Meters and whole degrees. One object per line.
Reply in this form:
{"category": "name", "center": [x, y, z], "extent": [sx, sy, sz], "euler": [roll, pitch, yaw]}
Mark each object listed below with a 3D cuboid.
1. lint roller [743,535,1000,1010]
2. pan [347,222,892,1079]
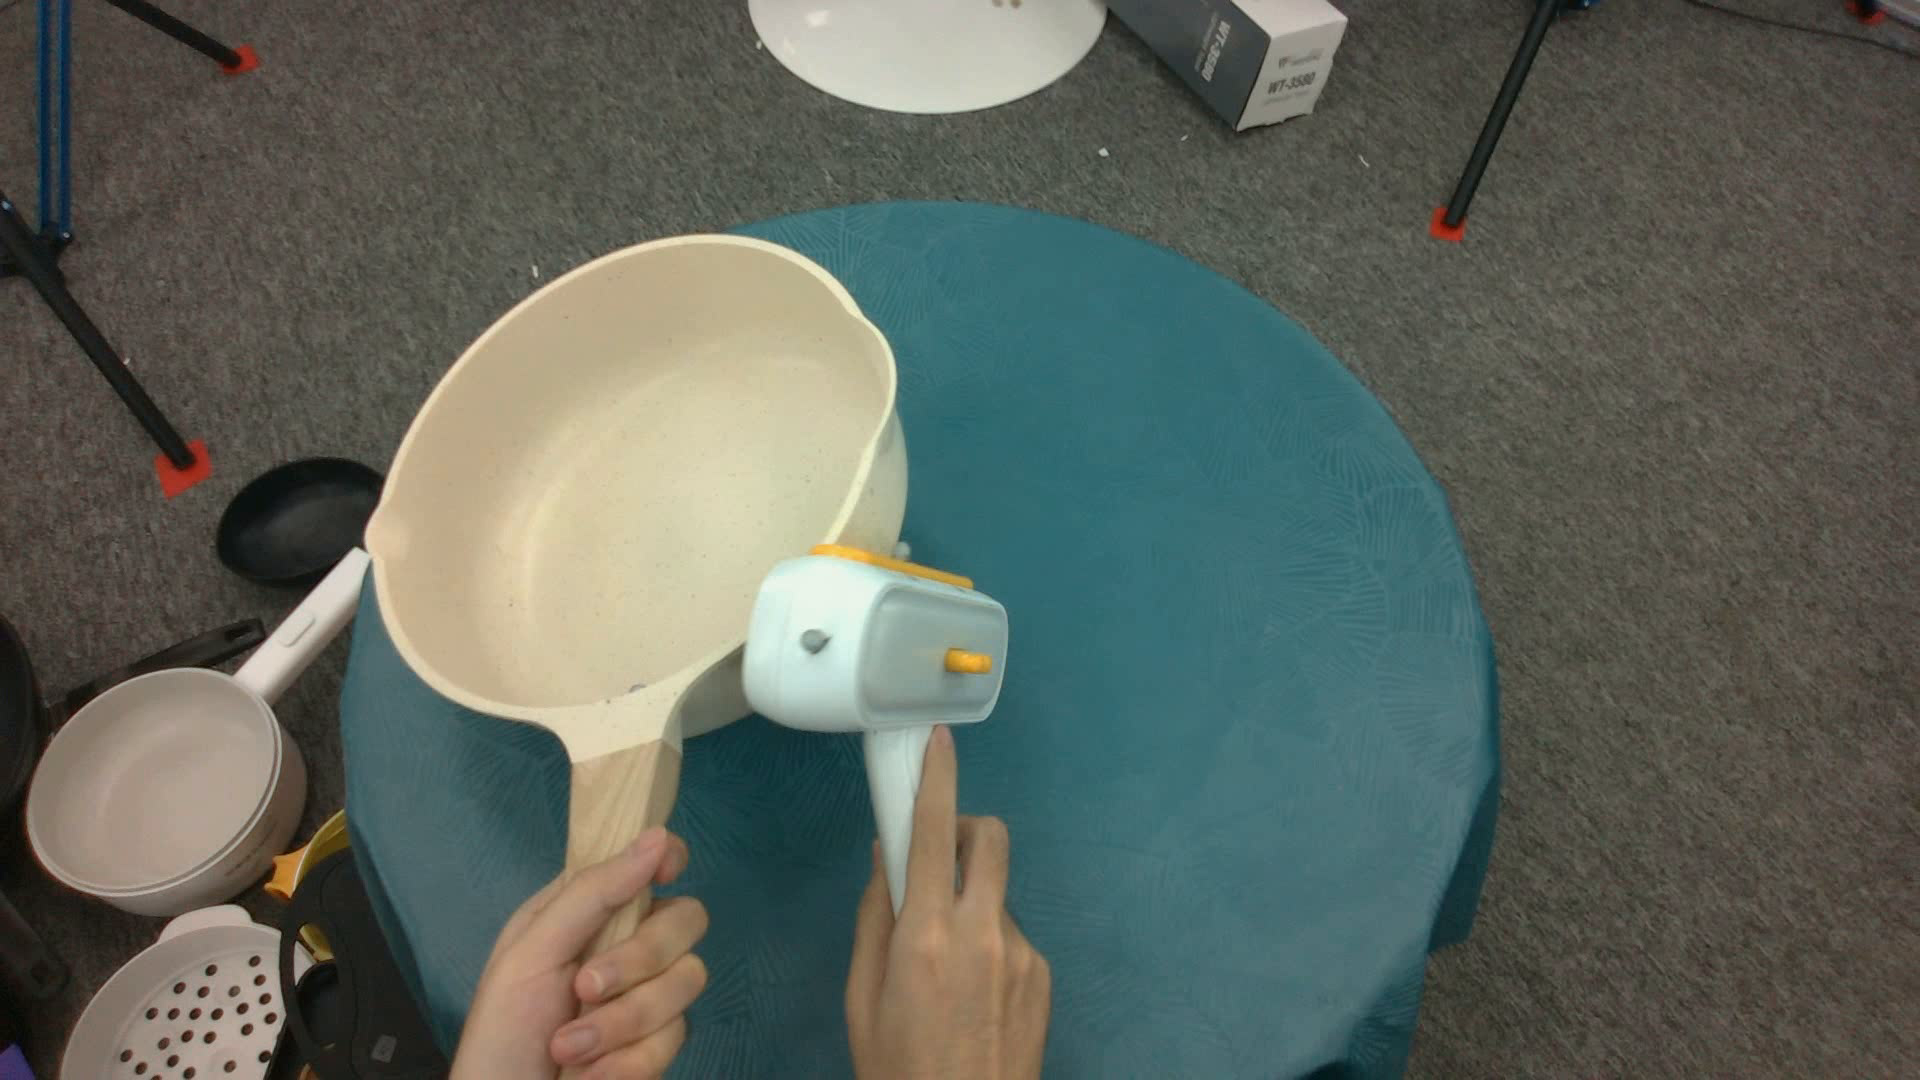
{"category": "lint roller", "center": [-0.023, 0.096, 0.572], "extent": [0.074, 0.193, 0.192], "euler": [-2, 87, 14]}
{"category": "pan", "center": [-0.135, 0.047, 0.593], "extent": [0.263, 0.101, 0.436], "euler": [-15, 57, 8]}
